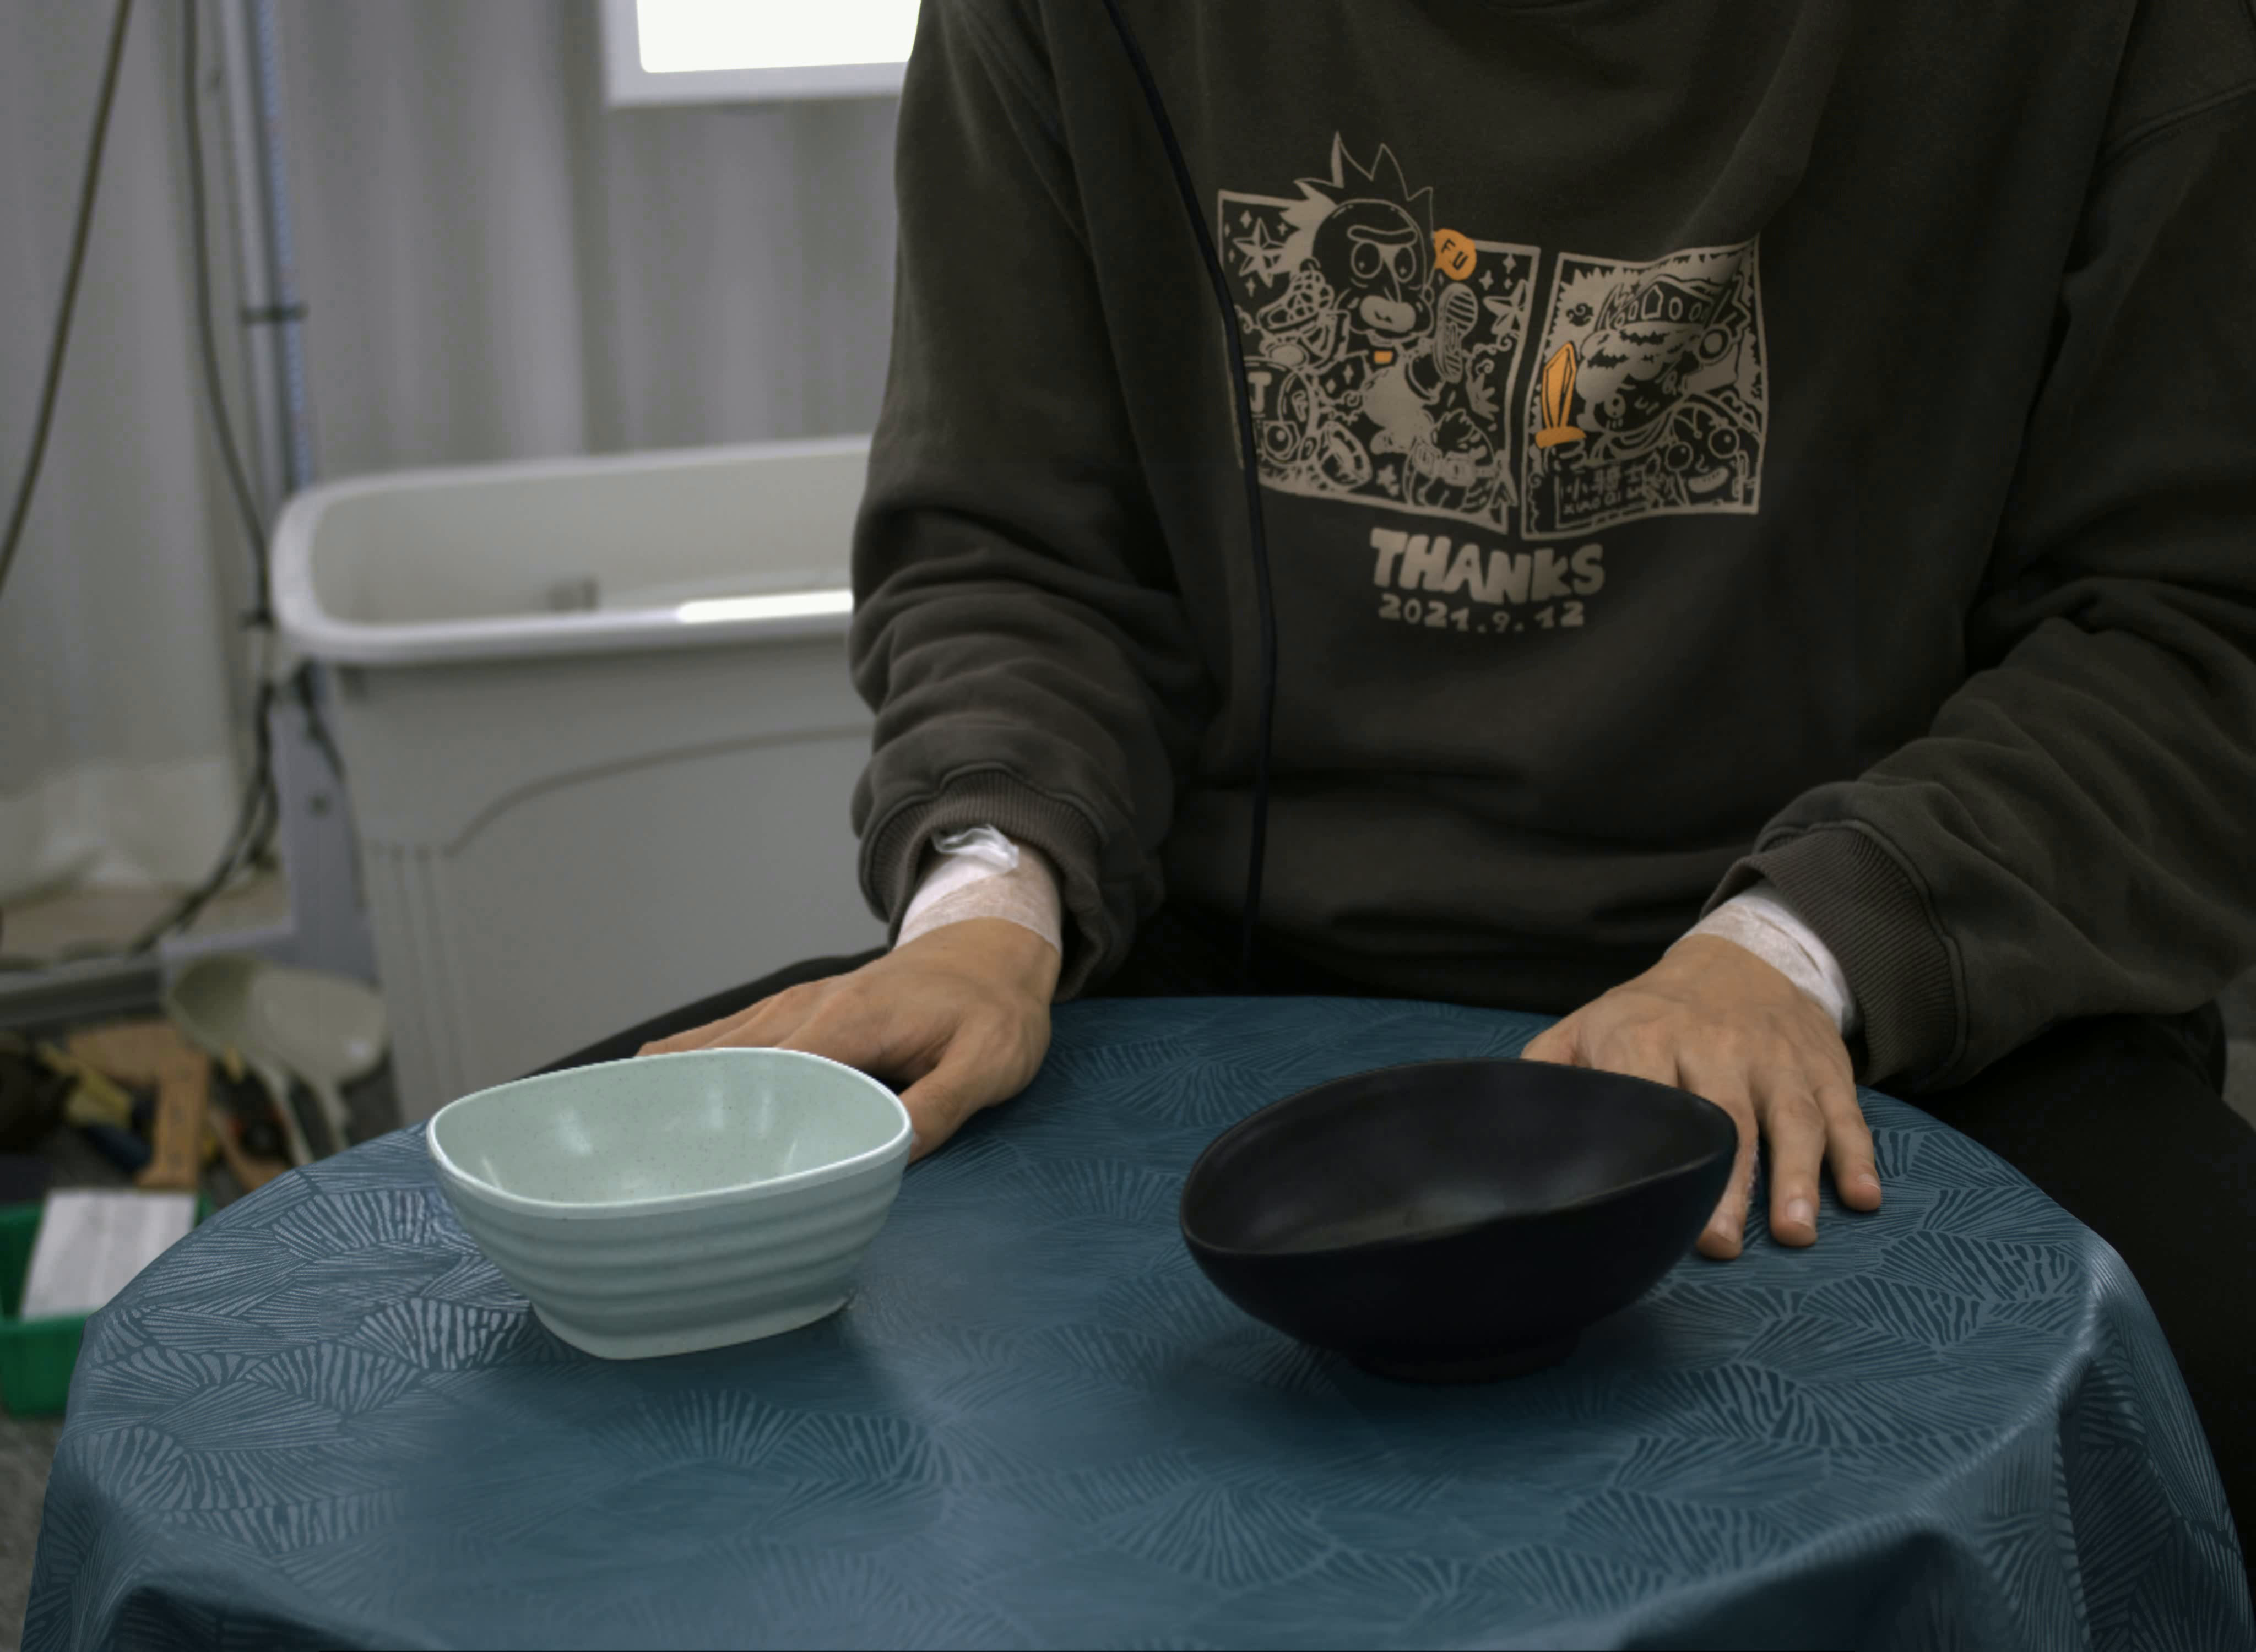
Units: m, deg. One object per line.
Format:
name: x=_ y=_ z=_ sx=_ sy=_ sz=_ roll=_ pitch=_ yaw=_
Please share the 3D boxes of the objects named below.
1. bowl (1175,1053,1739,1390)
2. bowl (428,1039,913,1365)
bowl: x=0.096 y=0.120 z=1.565 sx=0.170 sy=0.066 sz=0.138 roll=-13 pitch=18 yaw=-29
bowl: x=-0.135 y=0.116 z=1.635 sx=0.151 sy=0.058 sz=0.152 roll=-2 pitch=17 yaw=0
